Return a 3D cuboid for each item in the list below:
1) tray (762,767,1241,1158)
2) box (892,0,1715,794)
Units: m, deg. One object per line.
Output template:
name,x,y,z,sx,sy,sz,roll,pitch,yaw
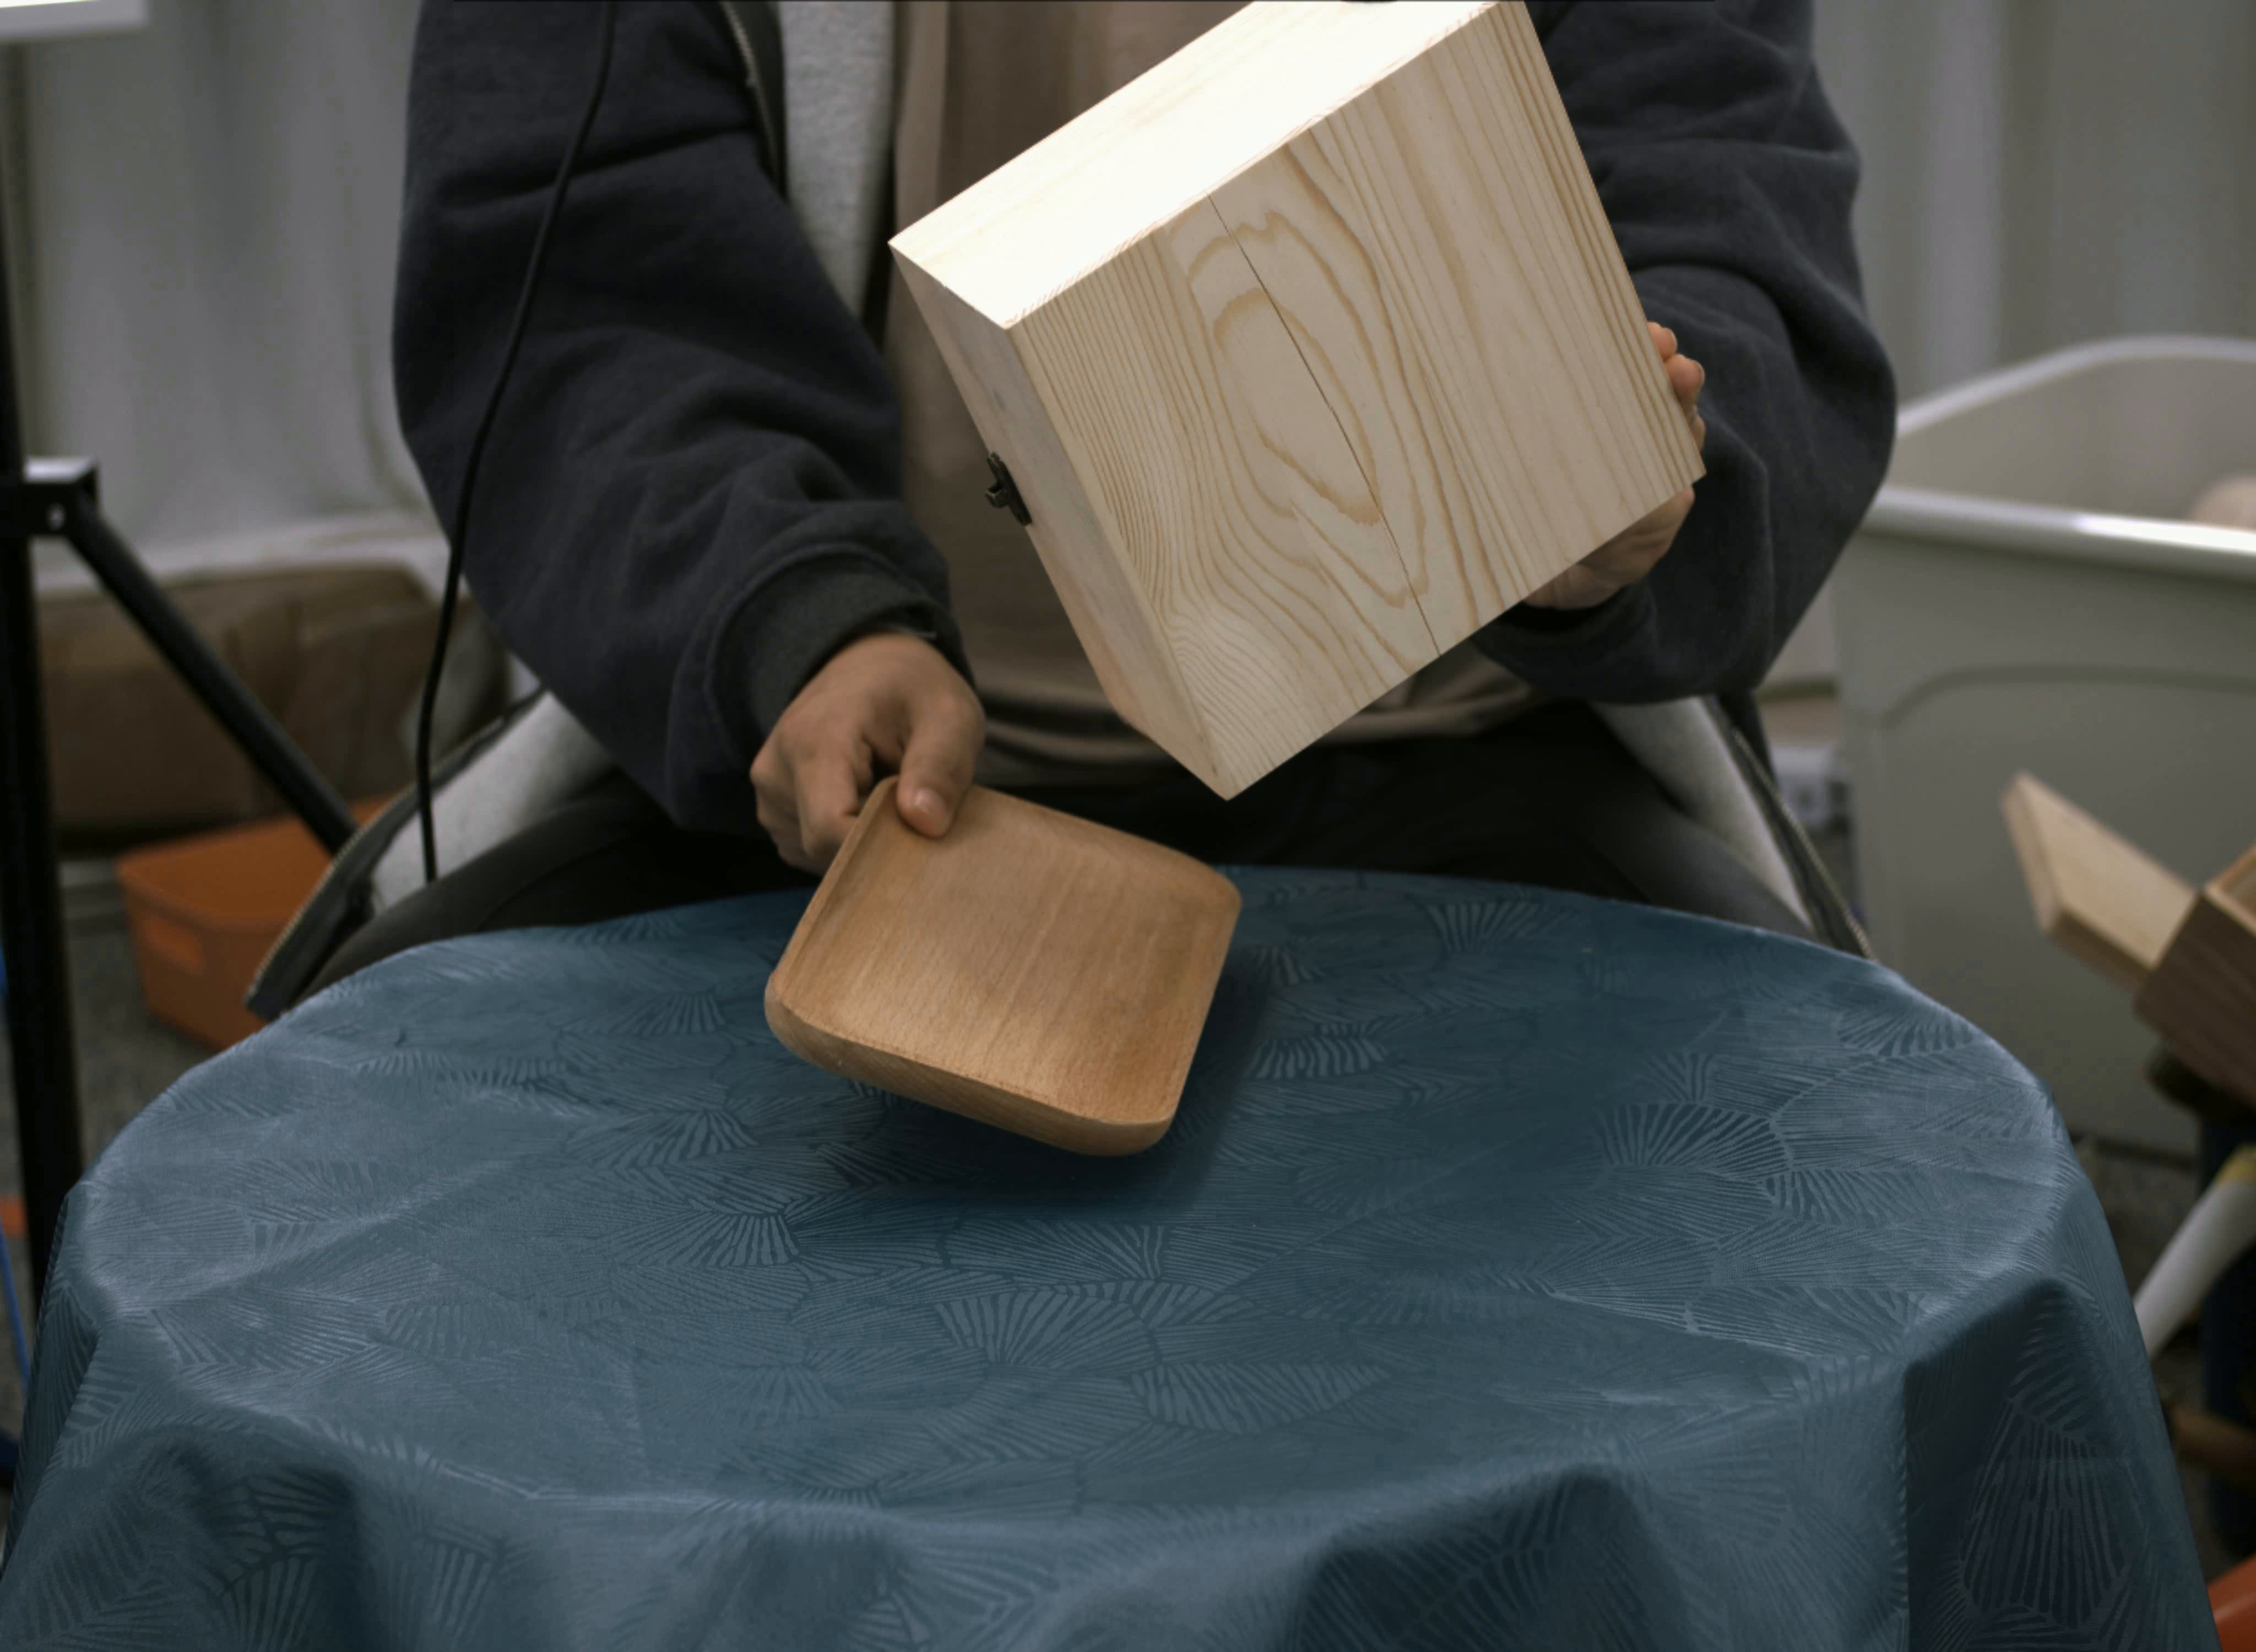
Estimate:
tray,-0.036,0.040,1.661,0.130,0.023,0.250,20,19,2
box,0.043,-0.190,1.636,0.263,0.179,0.258,-33,33,-10
